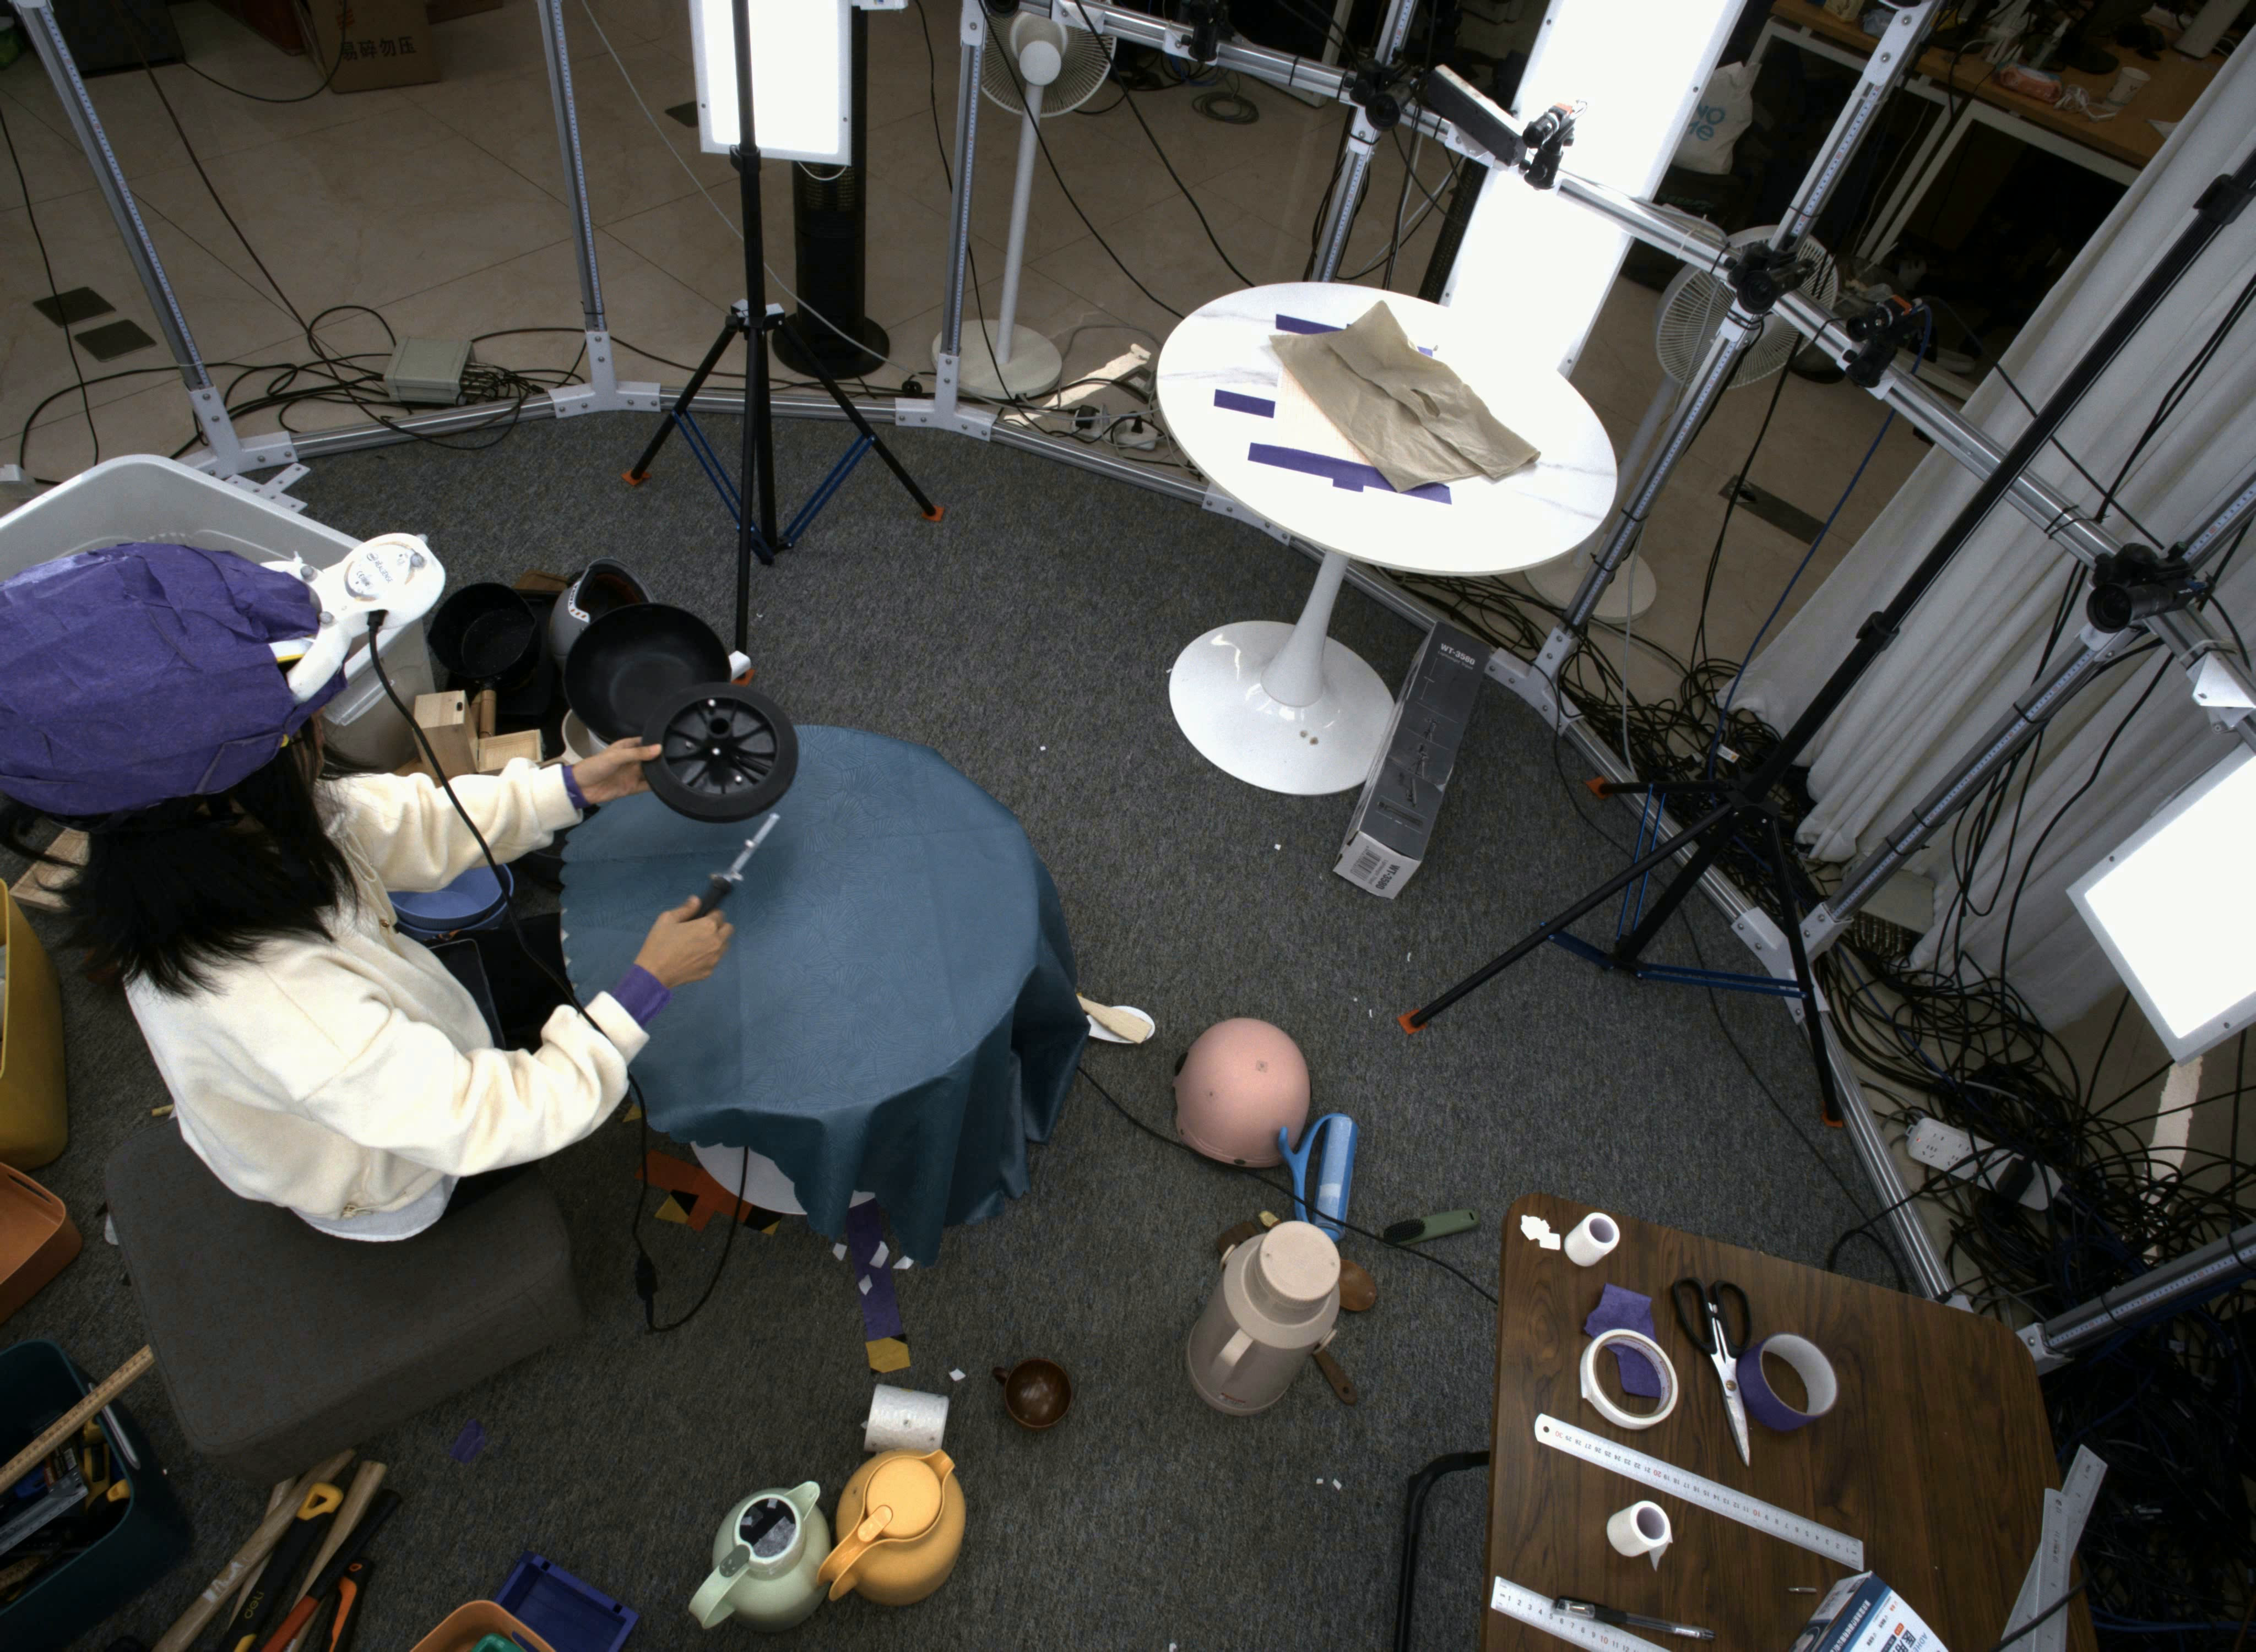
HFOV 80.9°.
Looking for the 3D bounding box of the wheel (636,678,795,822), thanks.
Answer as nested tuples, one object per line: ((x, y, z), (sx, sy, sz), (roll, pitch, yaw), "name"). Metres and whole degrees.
((-0.497, -0.104, 1.550), (0.191, 0.079, 0.185), (3, 66, -18), "wheel")

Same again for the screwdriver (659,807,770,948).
((-0.463, 0.052, 1.455), (0.031, 0.032, 0.196), (28, 69, 9), "screwdriver")
